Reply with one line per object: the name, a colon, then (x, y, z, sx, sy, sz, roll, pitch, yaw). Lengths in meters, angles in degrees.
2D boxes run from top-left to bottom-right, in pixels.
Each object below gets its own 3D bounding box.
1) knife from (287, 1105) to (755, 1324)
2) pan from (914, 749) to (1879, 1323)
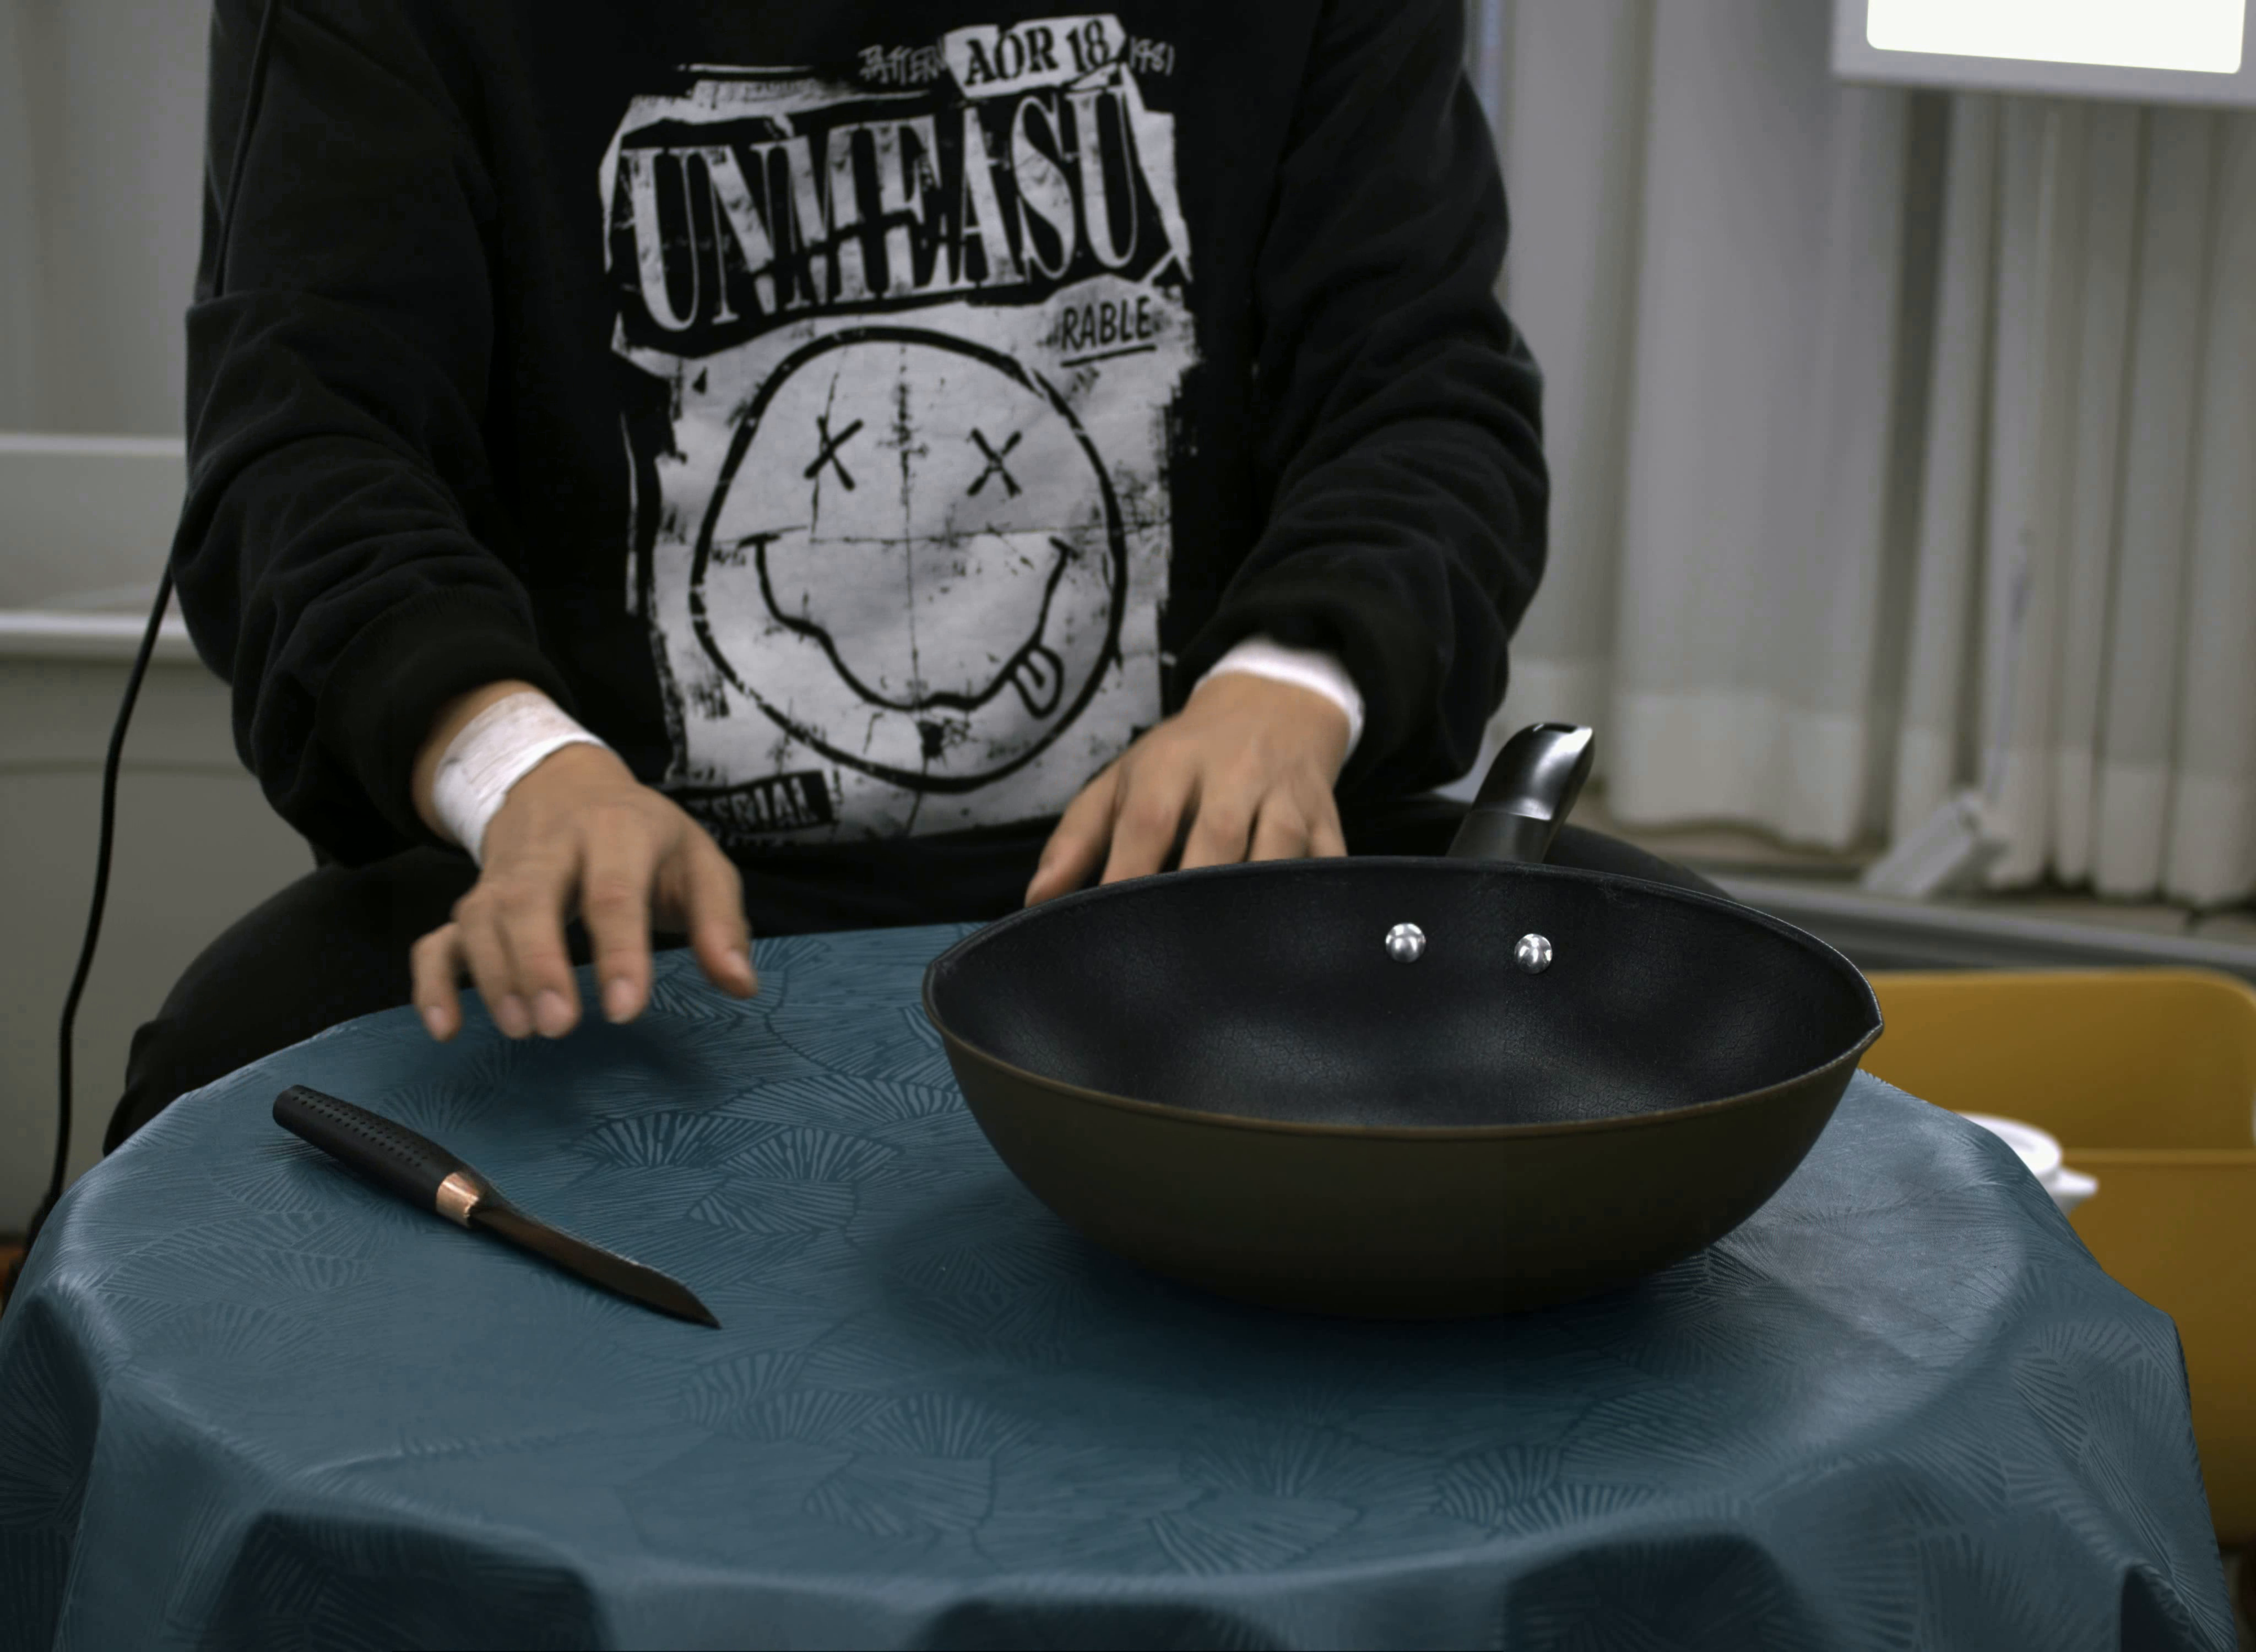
knife: (-0.186, 0.117, 1.583, 0.026, 0.017, 0.222, 2, 11, -43)
pan: (0.099, 0.063, 1.655, 0.286, 0.087, 0.463, 4, 15, 12)
